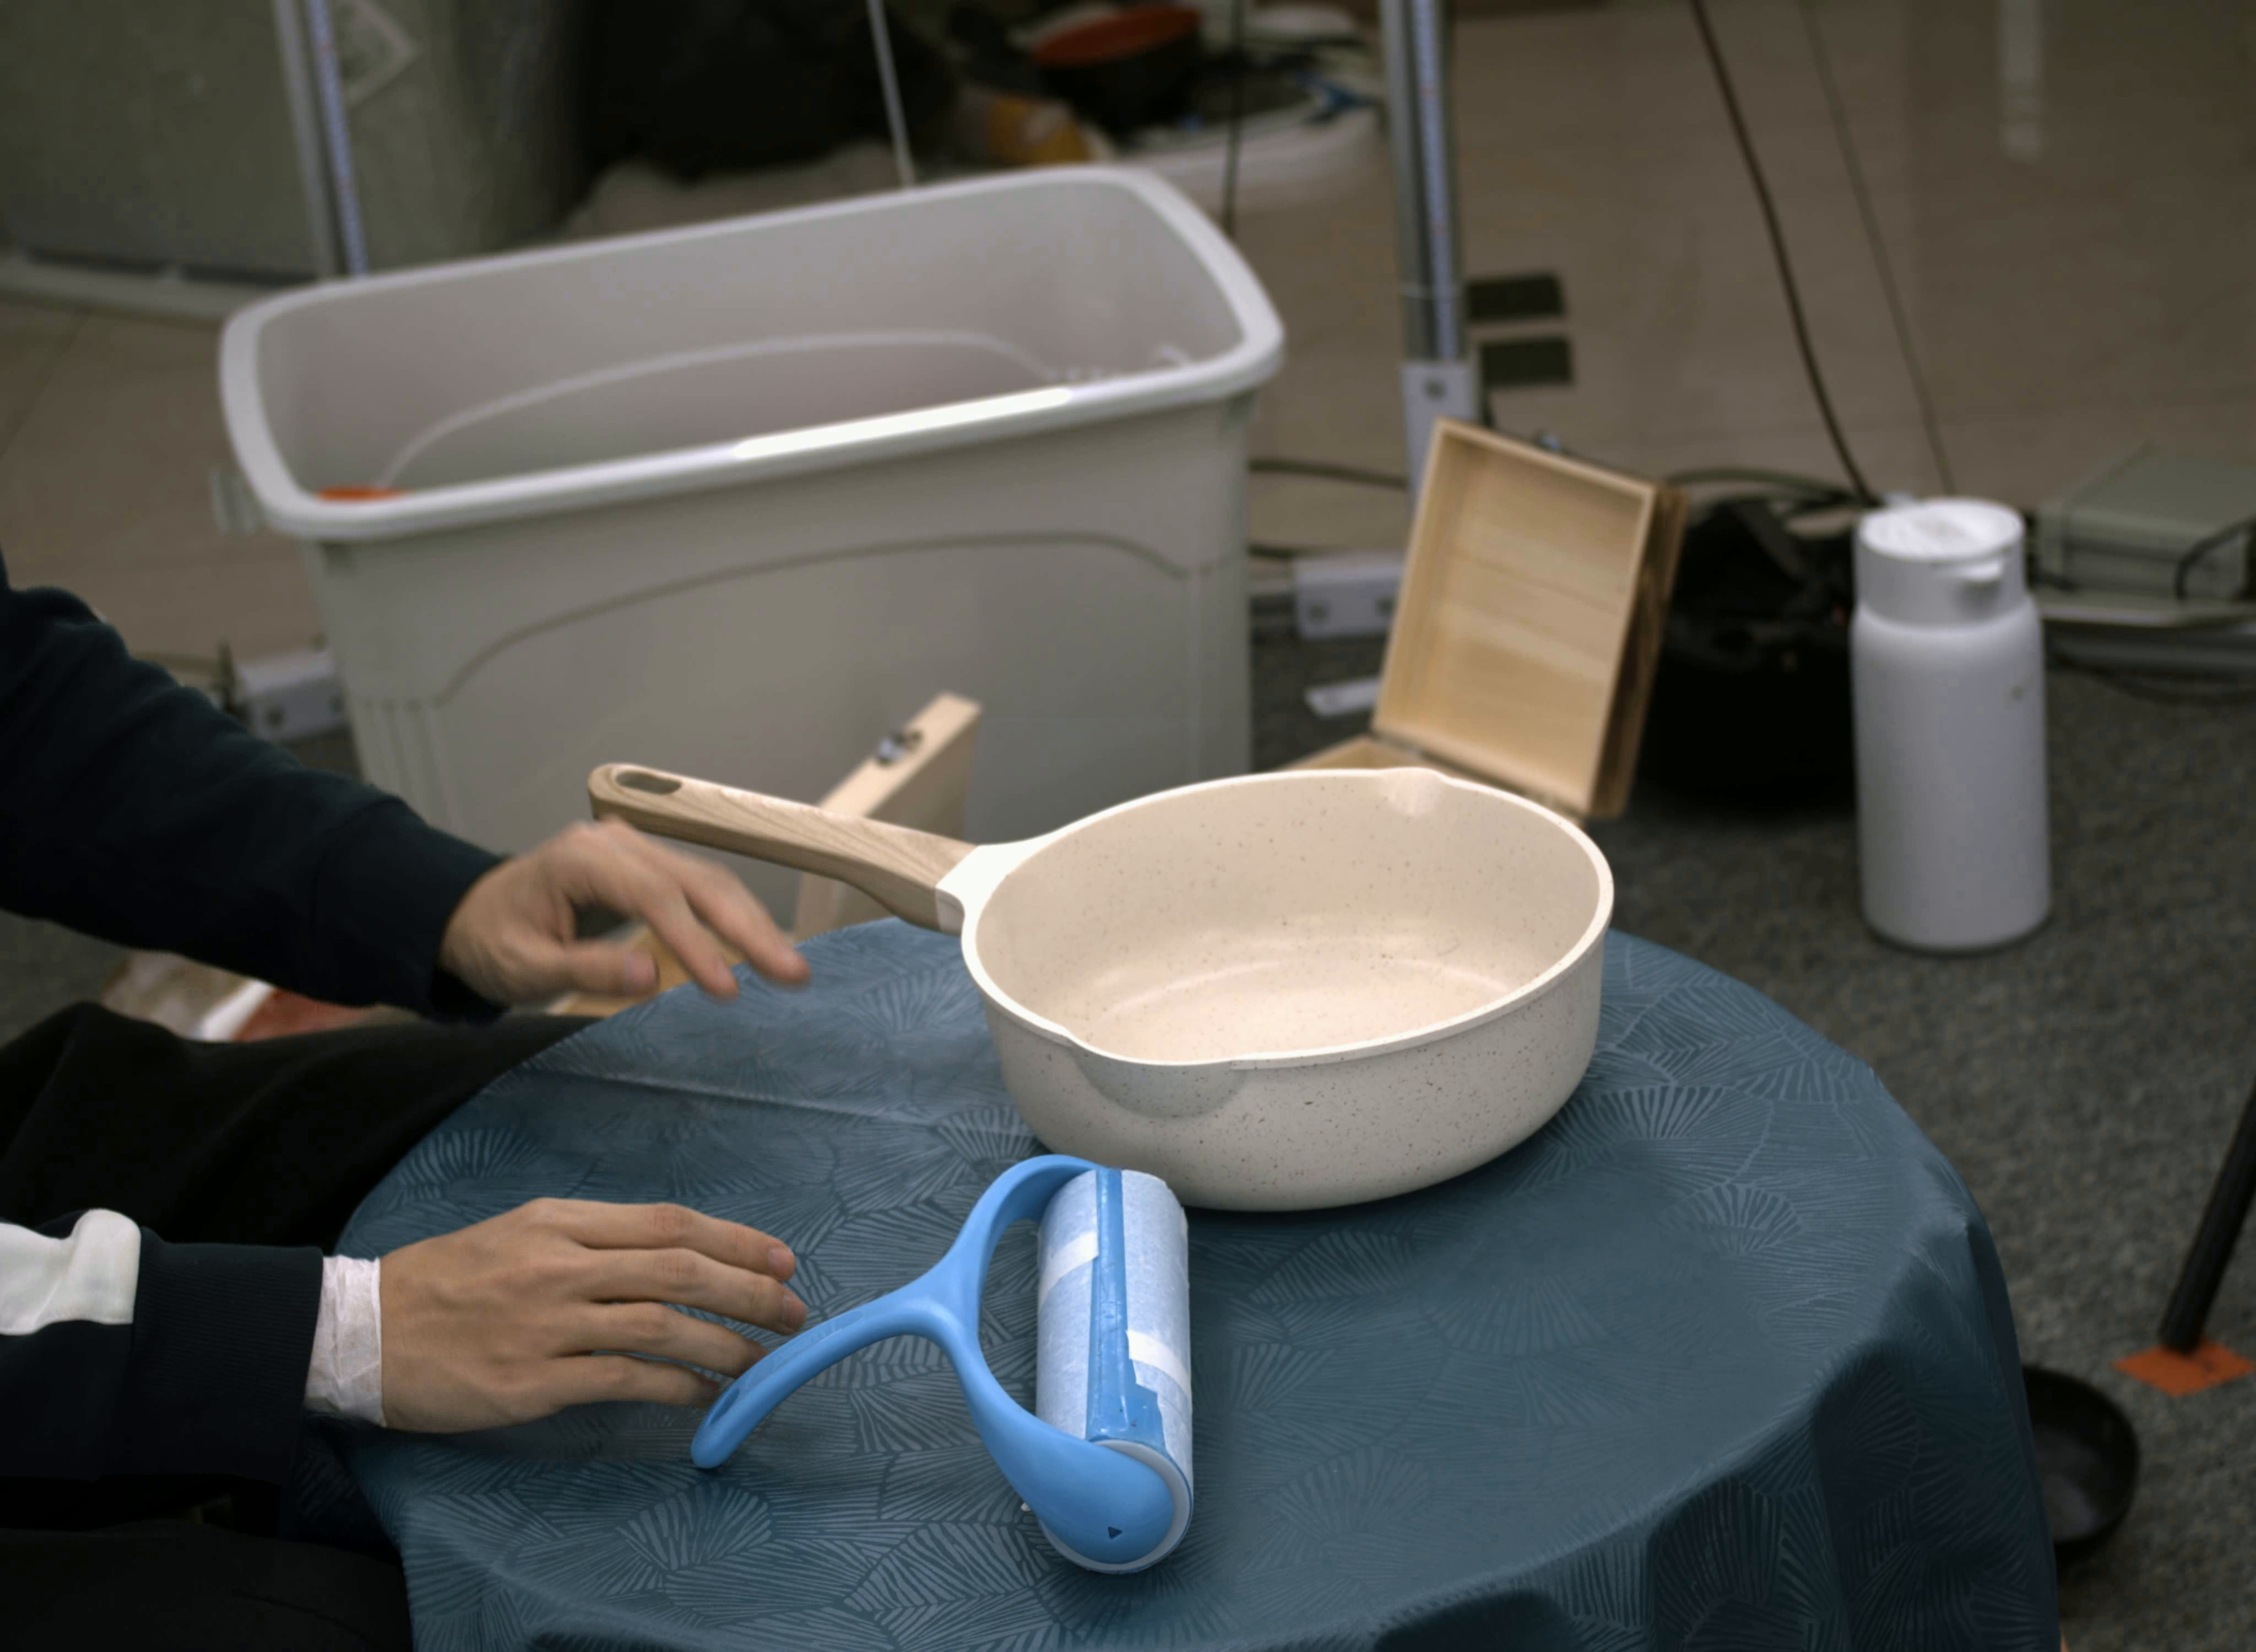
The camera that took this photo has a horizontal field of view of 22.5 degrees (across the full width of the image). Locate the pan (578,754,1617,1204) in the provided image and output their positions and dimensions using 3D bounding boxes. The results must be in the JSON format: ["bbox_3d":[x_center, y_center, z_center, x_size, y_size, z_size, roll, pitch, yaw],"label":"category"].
[{"bbox_3d":[-0.017,0.048,2.221,0.433,0.103,0.260,6,29,25],"label":"pan"}]

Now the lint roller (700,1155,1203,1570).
[{"bbox_3d":[-0.063,0.191,1.979,0.180,0.069,0.225,-6,26,-1],"label":"lint roller"}]
